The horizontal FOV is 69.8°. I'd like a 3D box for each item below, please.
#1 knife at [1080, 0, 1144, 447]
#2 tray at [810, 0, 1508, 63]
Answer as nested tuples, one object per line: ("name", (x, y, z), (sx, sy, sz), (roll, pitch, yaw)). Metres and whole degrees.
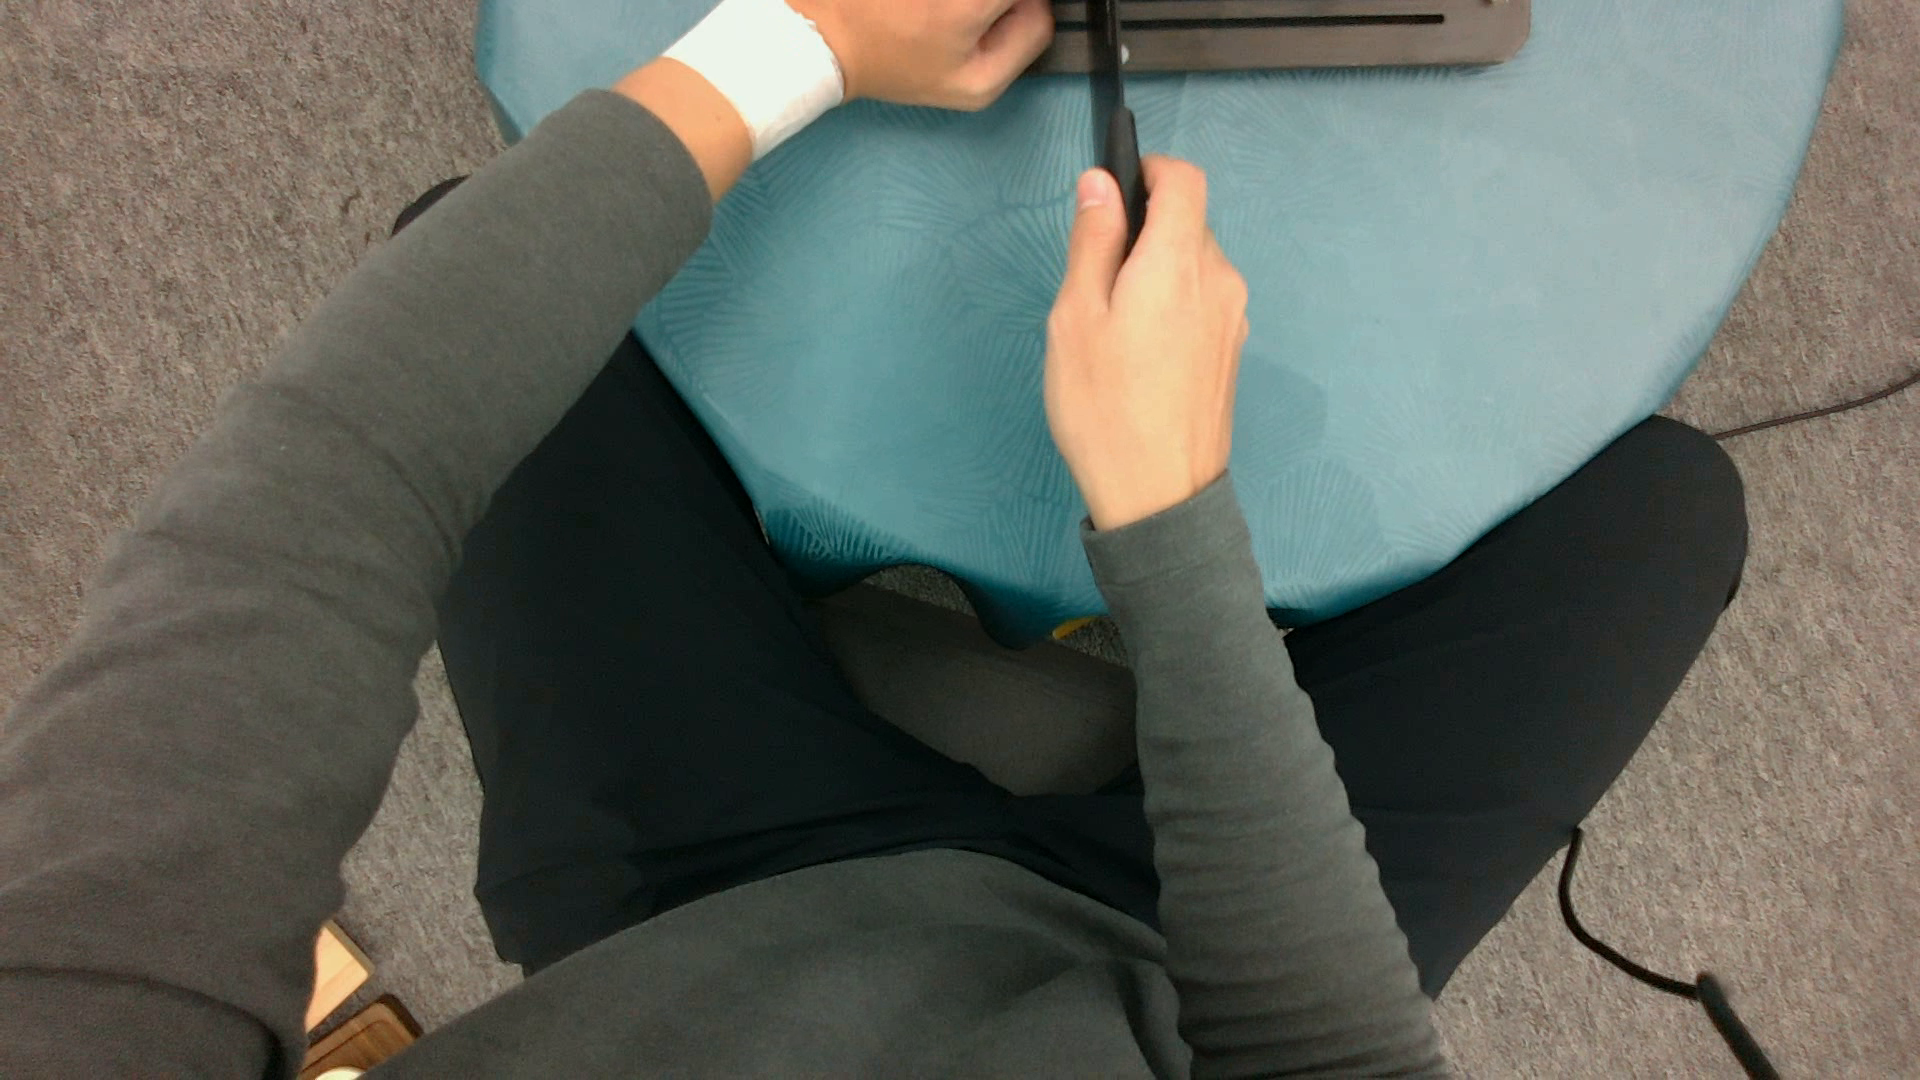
("knife", (0.054, -0.188, 0.537), (0.021, 0.081, 0.302), (-3, 89, -3))
("tray", (0.086, -0.295, 0.597), (0.306, 0.018, 0.170), (-2, 96, -2))
